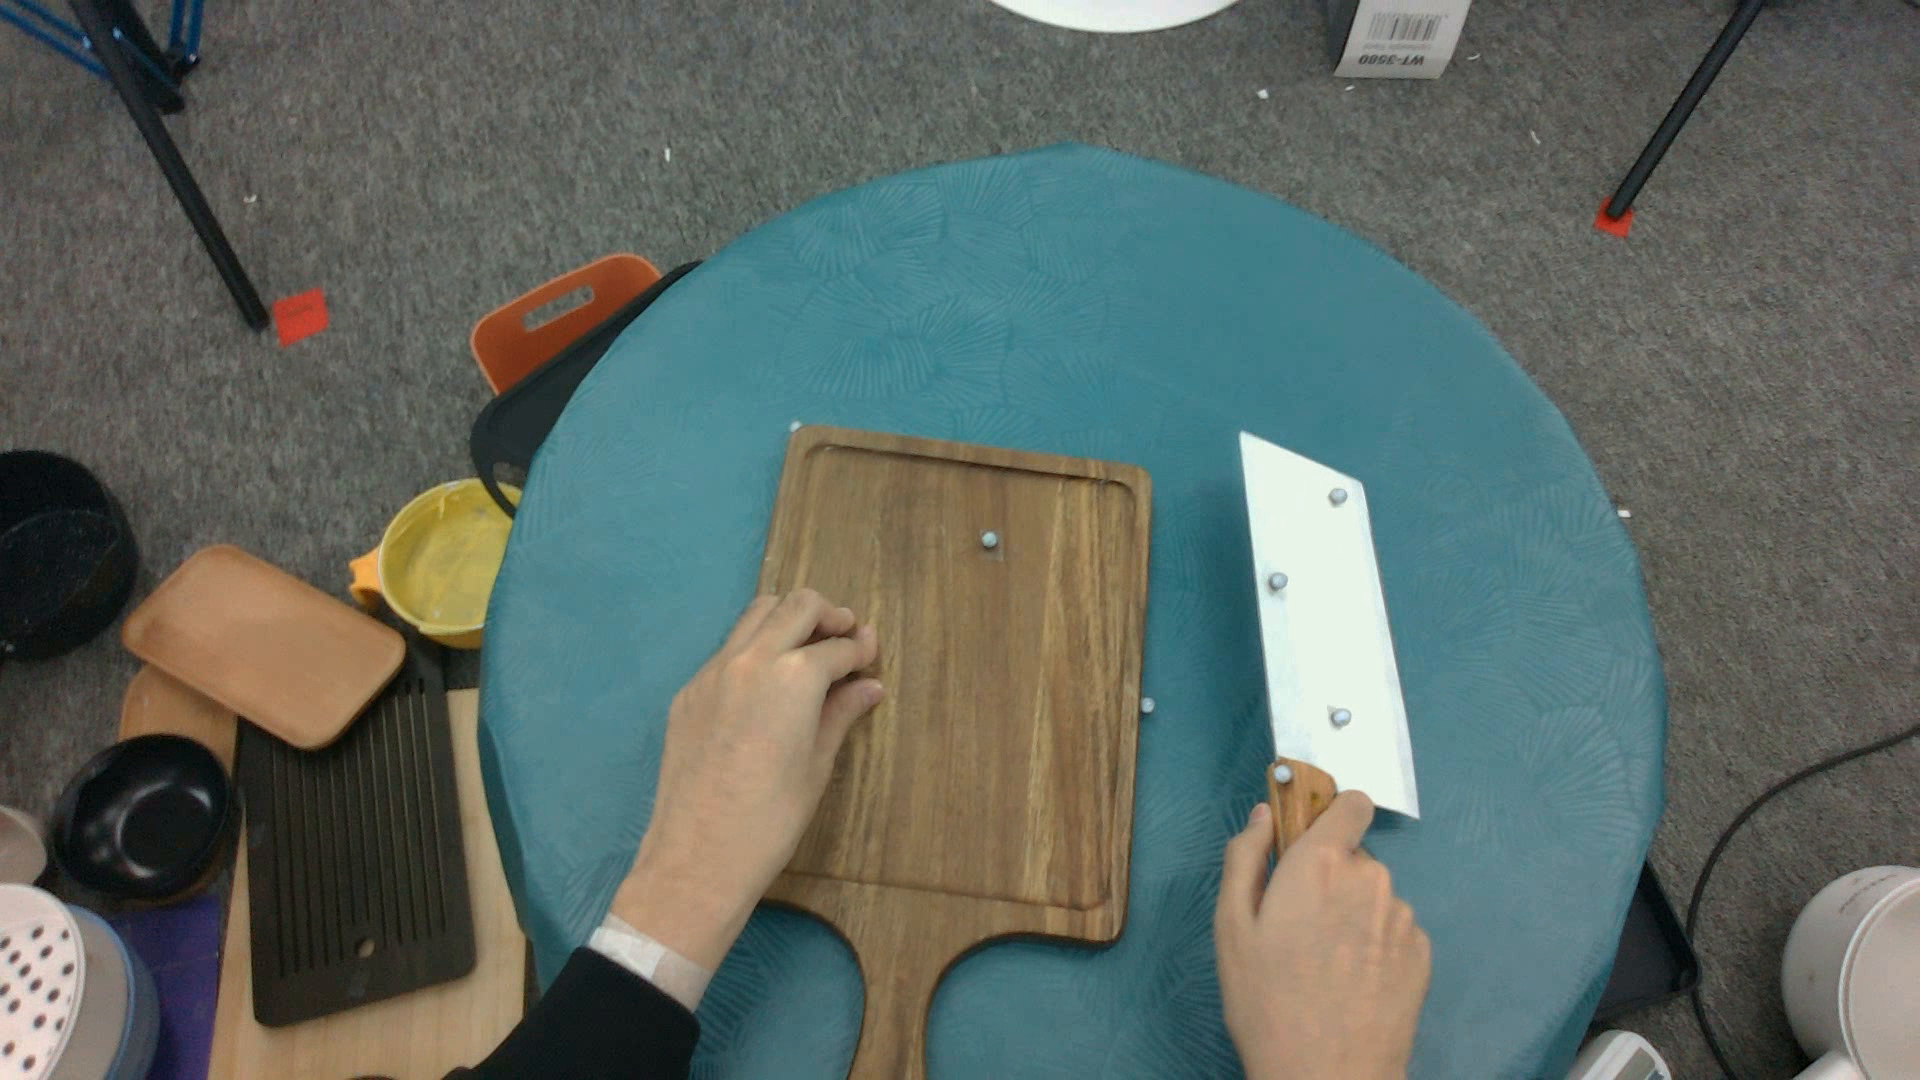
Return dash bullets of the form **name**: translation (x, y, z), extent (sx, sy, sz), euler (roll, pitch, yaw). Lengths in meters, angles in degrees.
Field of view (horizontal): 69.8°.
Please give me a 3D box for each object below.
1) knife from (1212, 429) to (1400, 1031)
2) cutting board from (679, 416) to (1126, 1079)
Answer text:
- **knife**: translation (0.171, 0.079, 0.659), extent (0.093, 0.021, 0.307), euler (16, 55, -25)
- **cutting board**: translation (-0.025, 0.100, 0.659), extent (0.201, 0.023, 0.353), euler (6, 64, 1)
